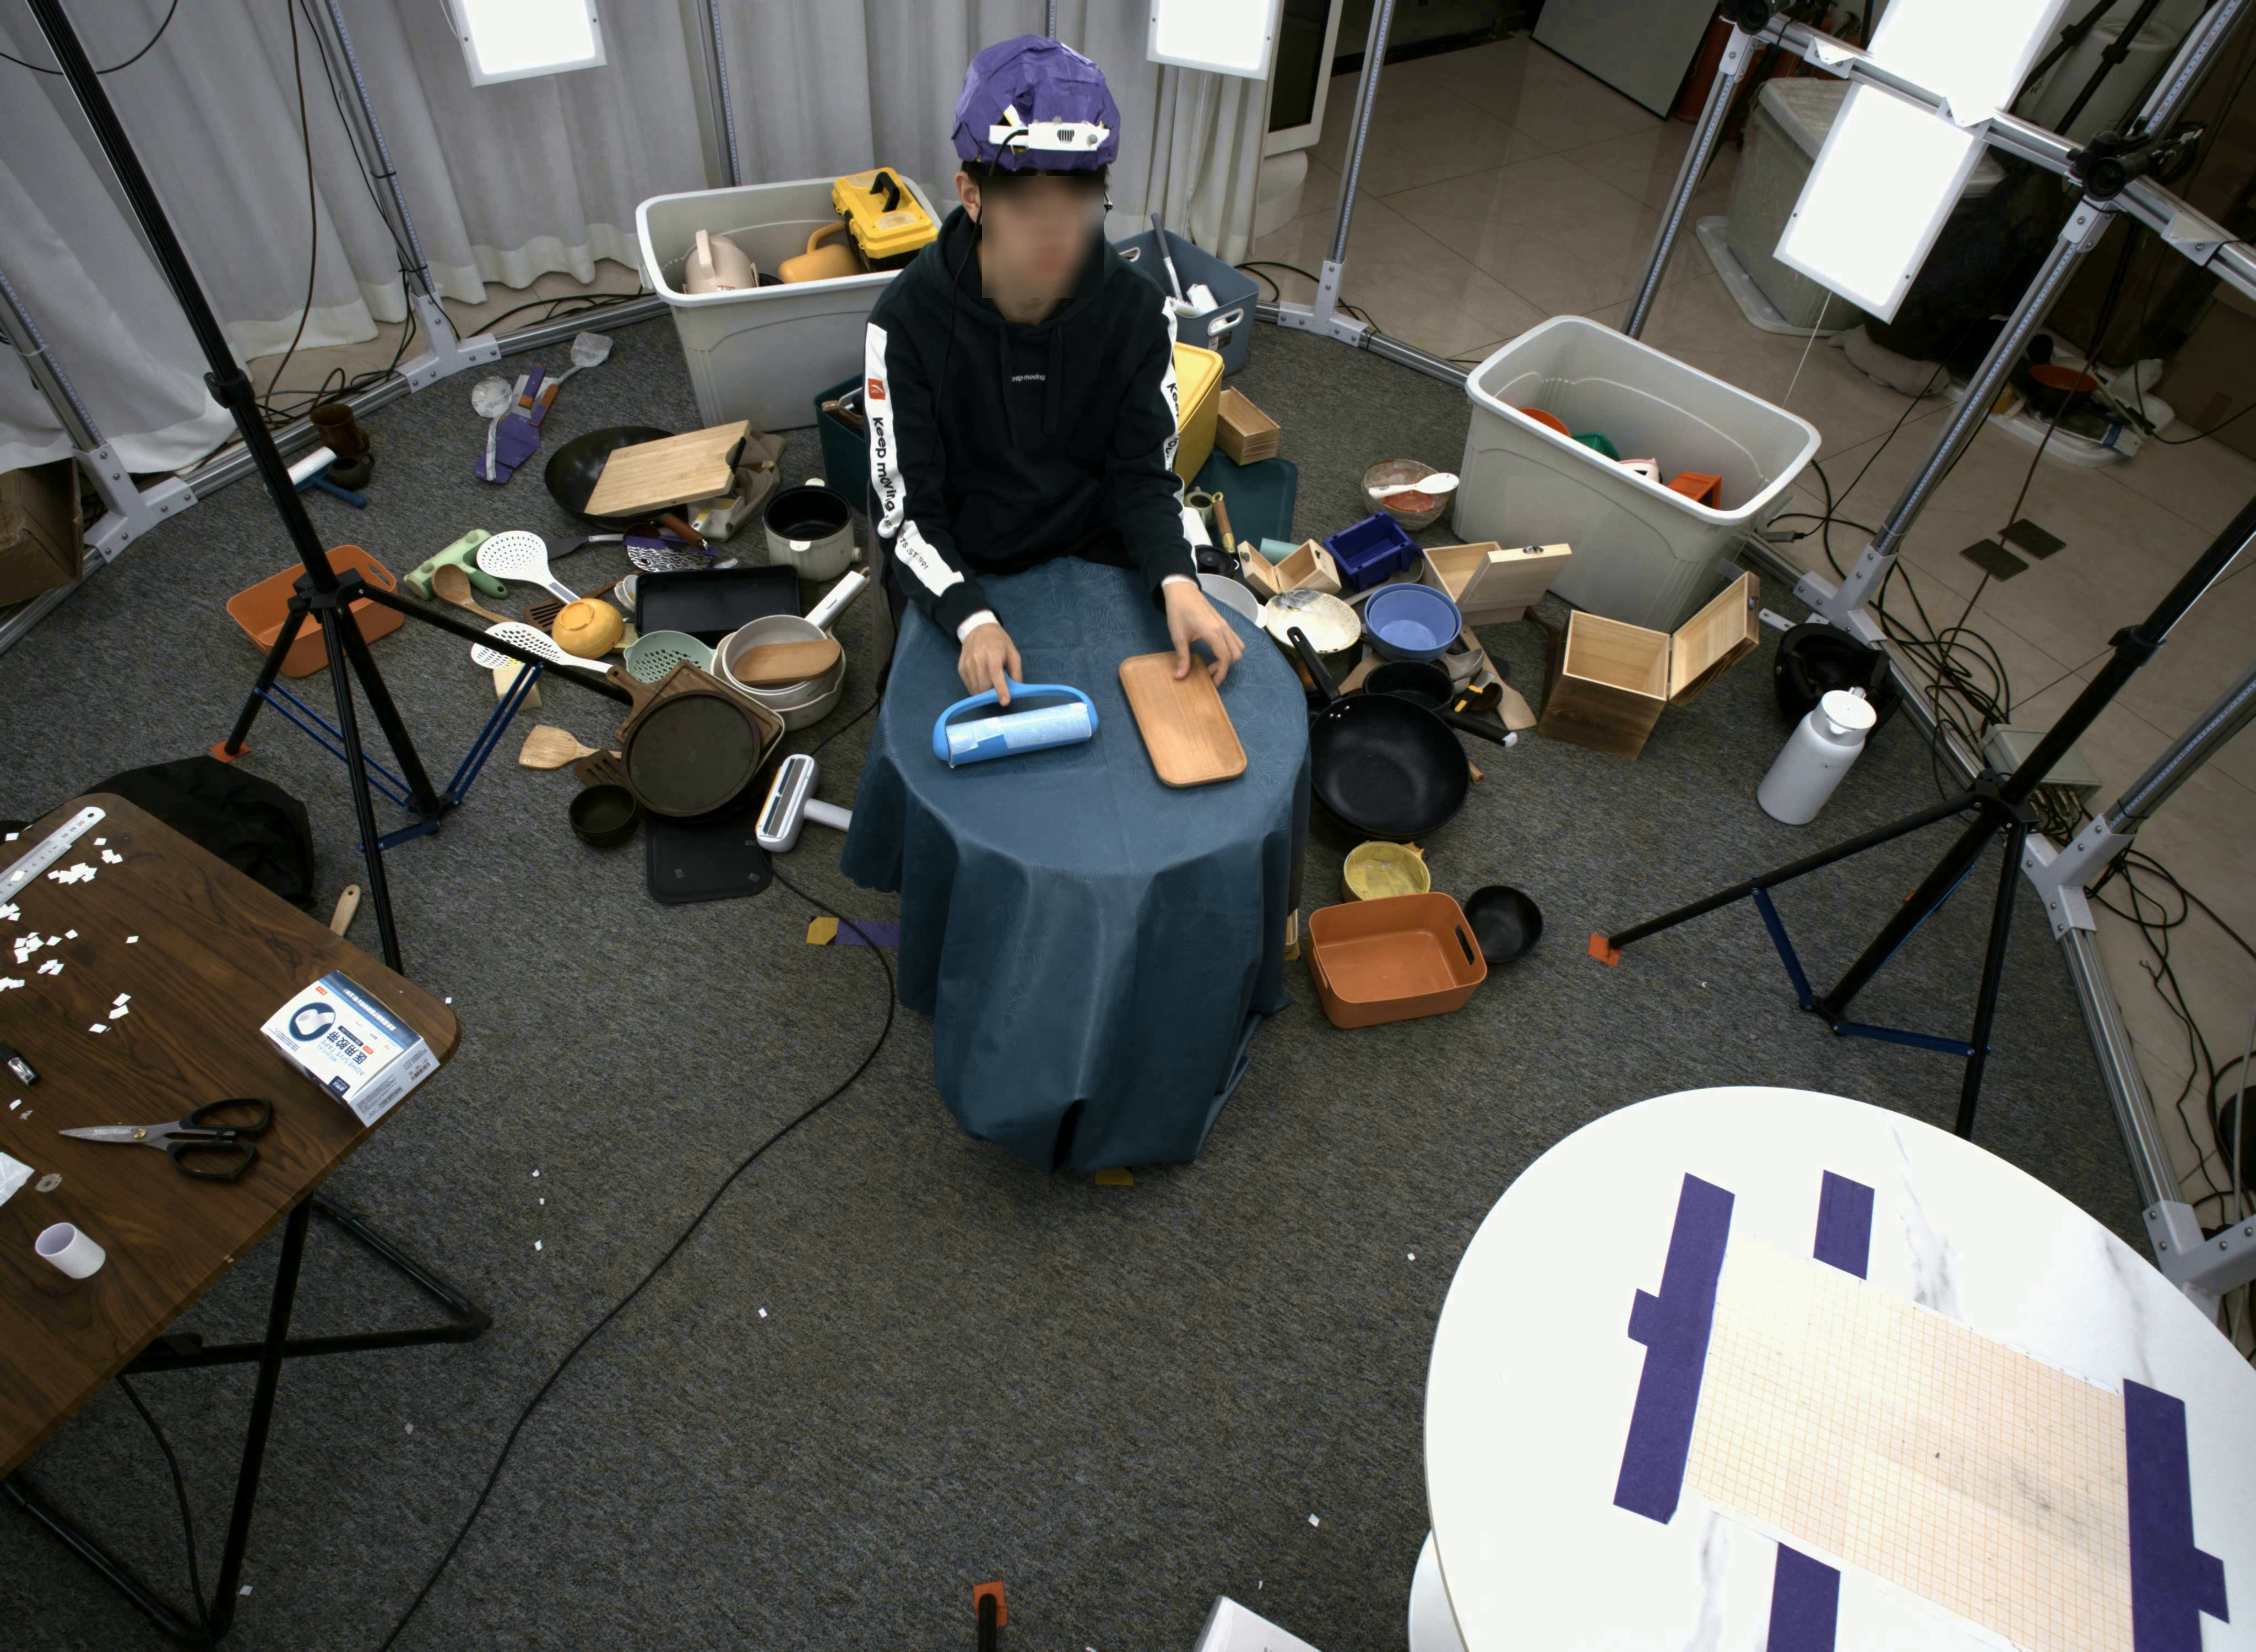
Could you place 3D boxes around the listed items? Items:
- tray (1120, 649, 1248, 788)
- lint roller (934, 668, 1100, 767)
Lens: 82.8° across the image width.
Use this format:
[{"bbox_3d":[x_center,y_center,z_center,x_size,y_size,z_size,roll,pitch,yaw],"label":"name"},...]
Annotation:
[{"bbox_3d":[0.076,-0.154,1.795,0.130,0.022,0.257,-7,50,-13],"label":"tray"},{"bbox_3d":[-0.168,-0.170,1.767,0.229,0.066,0.184,-14,53,-14],"label":"lint roller"}]
